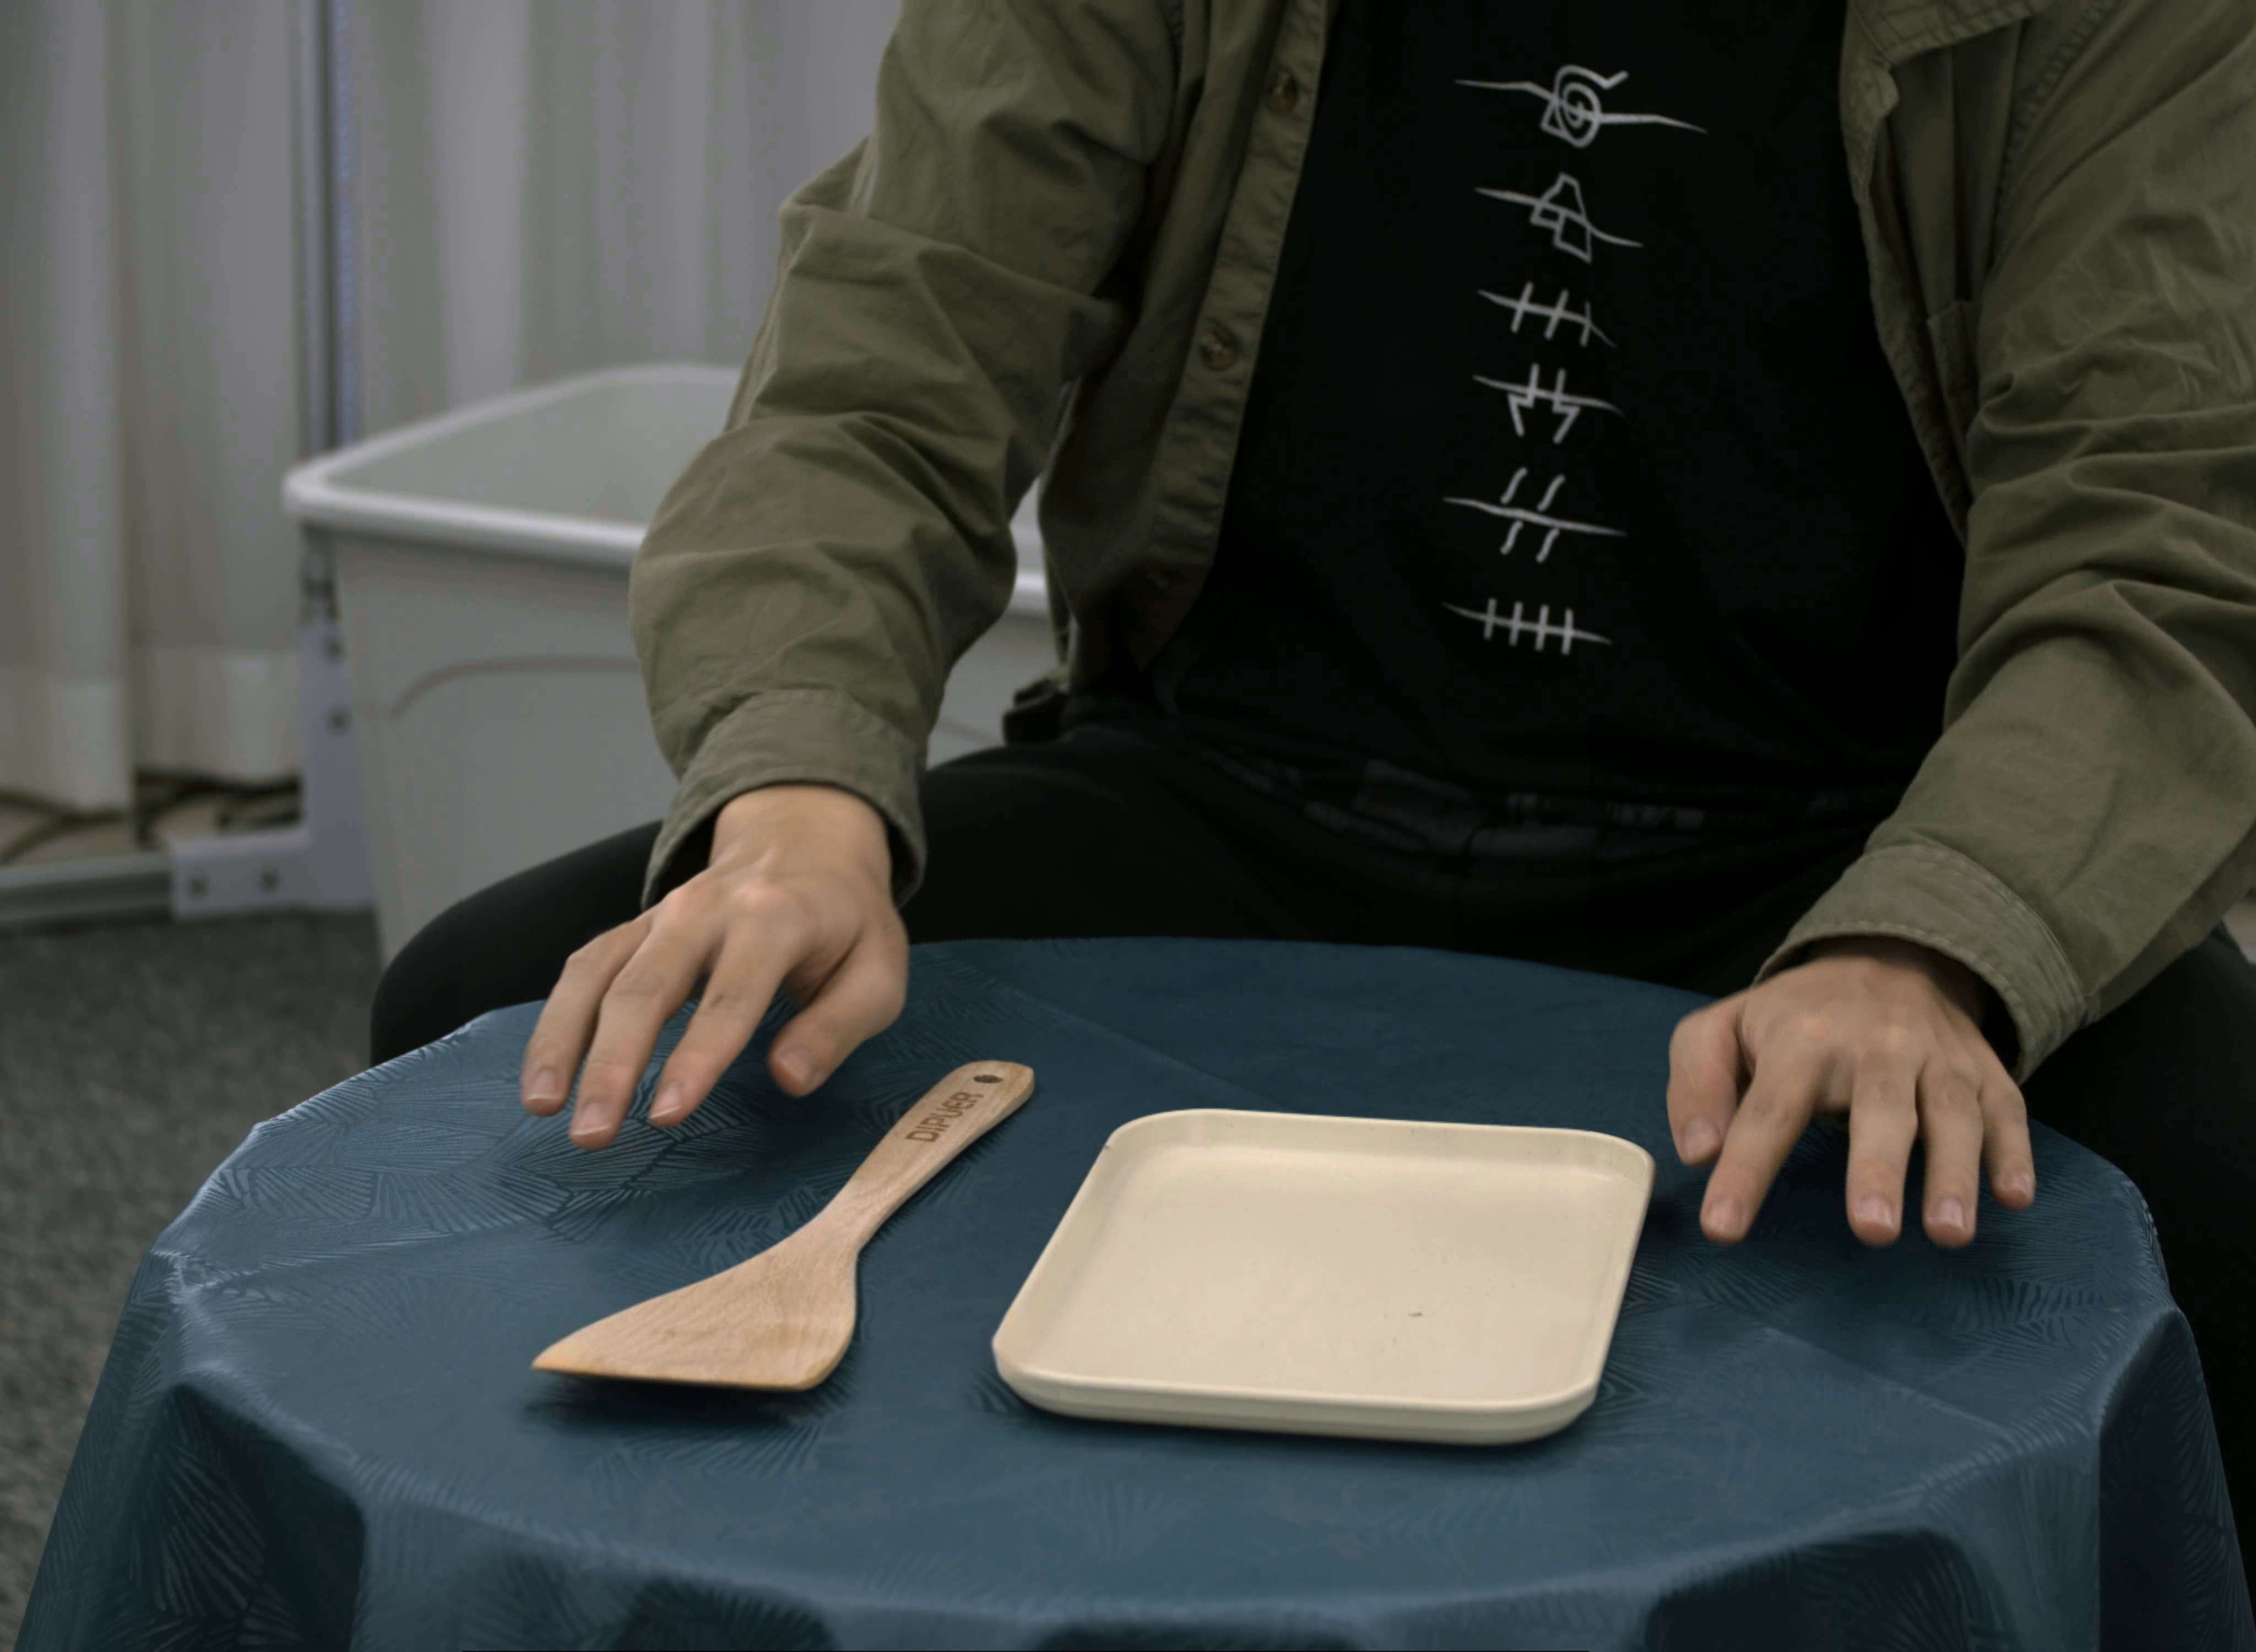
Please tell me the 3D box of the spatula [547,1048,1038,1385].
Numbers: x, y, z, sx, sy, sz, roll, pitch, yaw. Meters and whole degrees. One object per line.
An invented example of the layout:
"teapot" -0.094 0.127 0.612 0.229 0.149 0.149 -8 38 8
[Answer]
"spatula" -0.082 0.114 1.588 0.079 0.016 0.327 5 16 15

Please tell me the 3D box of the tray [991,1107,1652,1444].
"tray" 0.061 0.130 1.536 0.170 0.017 0.239 4 15 10
